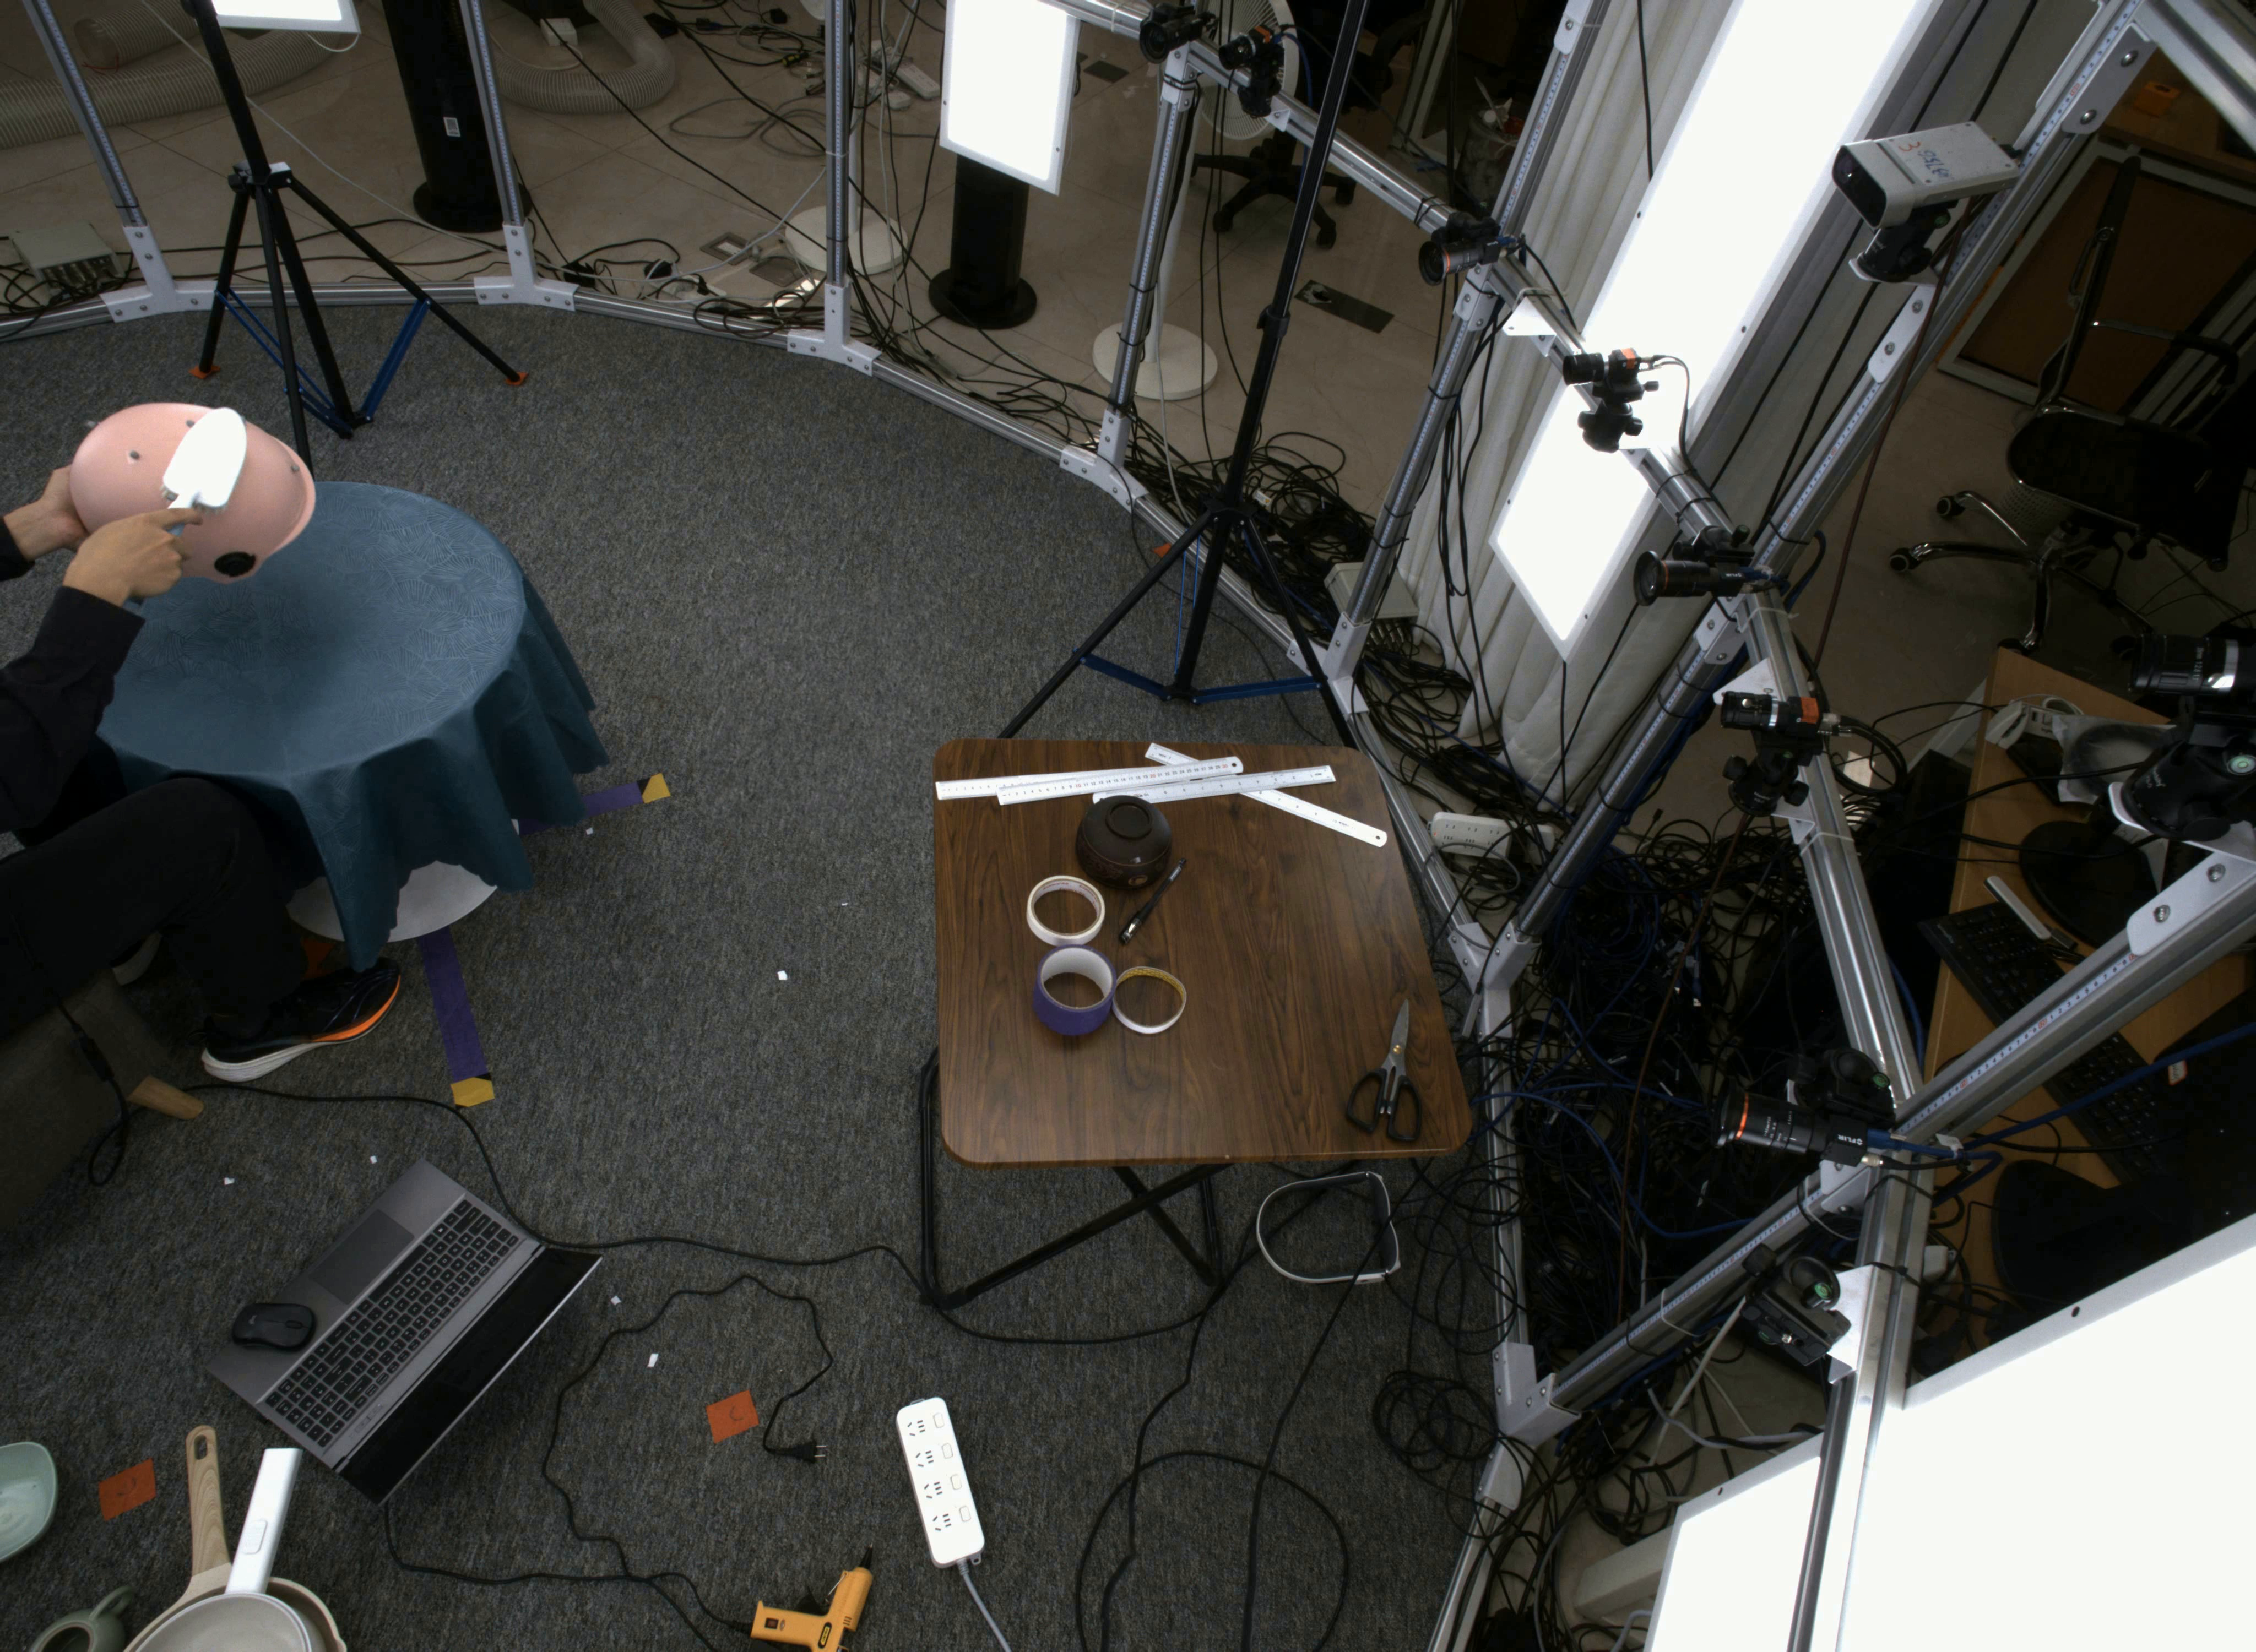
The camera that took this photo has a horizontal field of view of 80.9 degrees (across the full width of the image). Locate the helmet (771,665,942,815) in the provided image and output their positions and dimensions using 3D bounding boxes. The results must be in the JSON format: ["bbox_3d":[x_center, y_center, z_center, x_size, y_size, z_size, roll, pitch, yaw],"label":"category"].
[{"bbox_3d":[-0.424,-0.151,1.982,0.262,0.164,0.230,6,46,5],"label":"helmet"}]

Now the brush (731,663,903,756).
[{"bbox_3d":[-0.439,-0.148,1.822,0.080,0.087,0.326,9,29,33],"label":"brush"}]
